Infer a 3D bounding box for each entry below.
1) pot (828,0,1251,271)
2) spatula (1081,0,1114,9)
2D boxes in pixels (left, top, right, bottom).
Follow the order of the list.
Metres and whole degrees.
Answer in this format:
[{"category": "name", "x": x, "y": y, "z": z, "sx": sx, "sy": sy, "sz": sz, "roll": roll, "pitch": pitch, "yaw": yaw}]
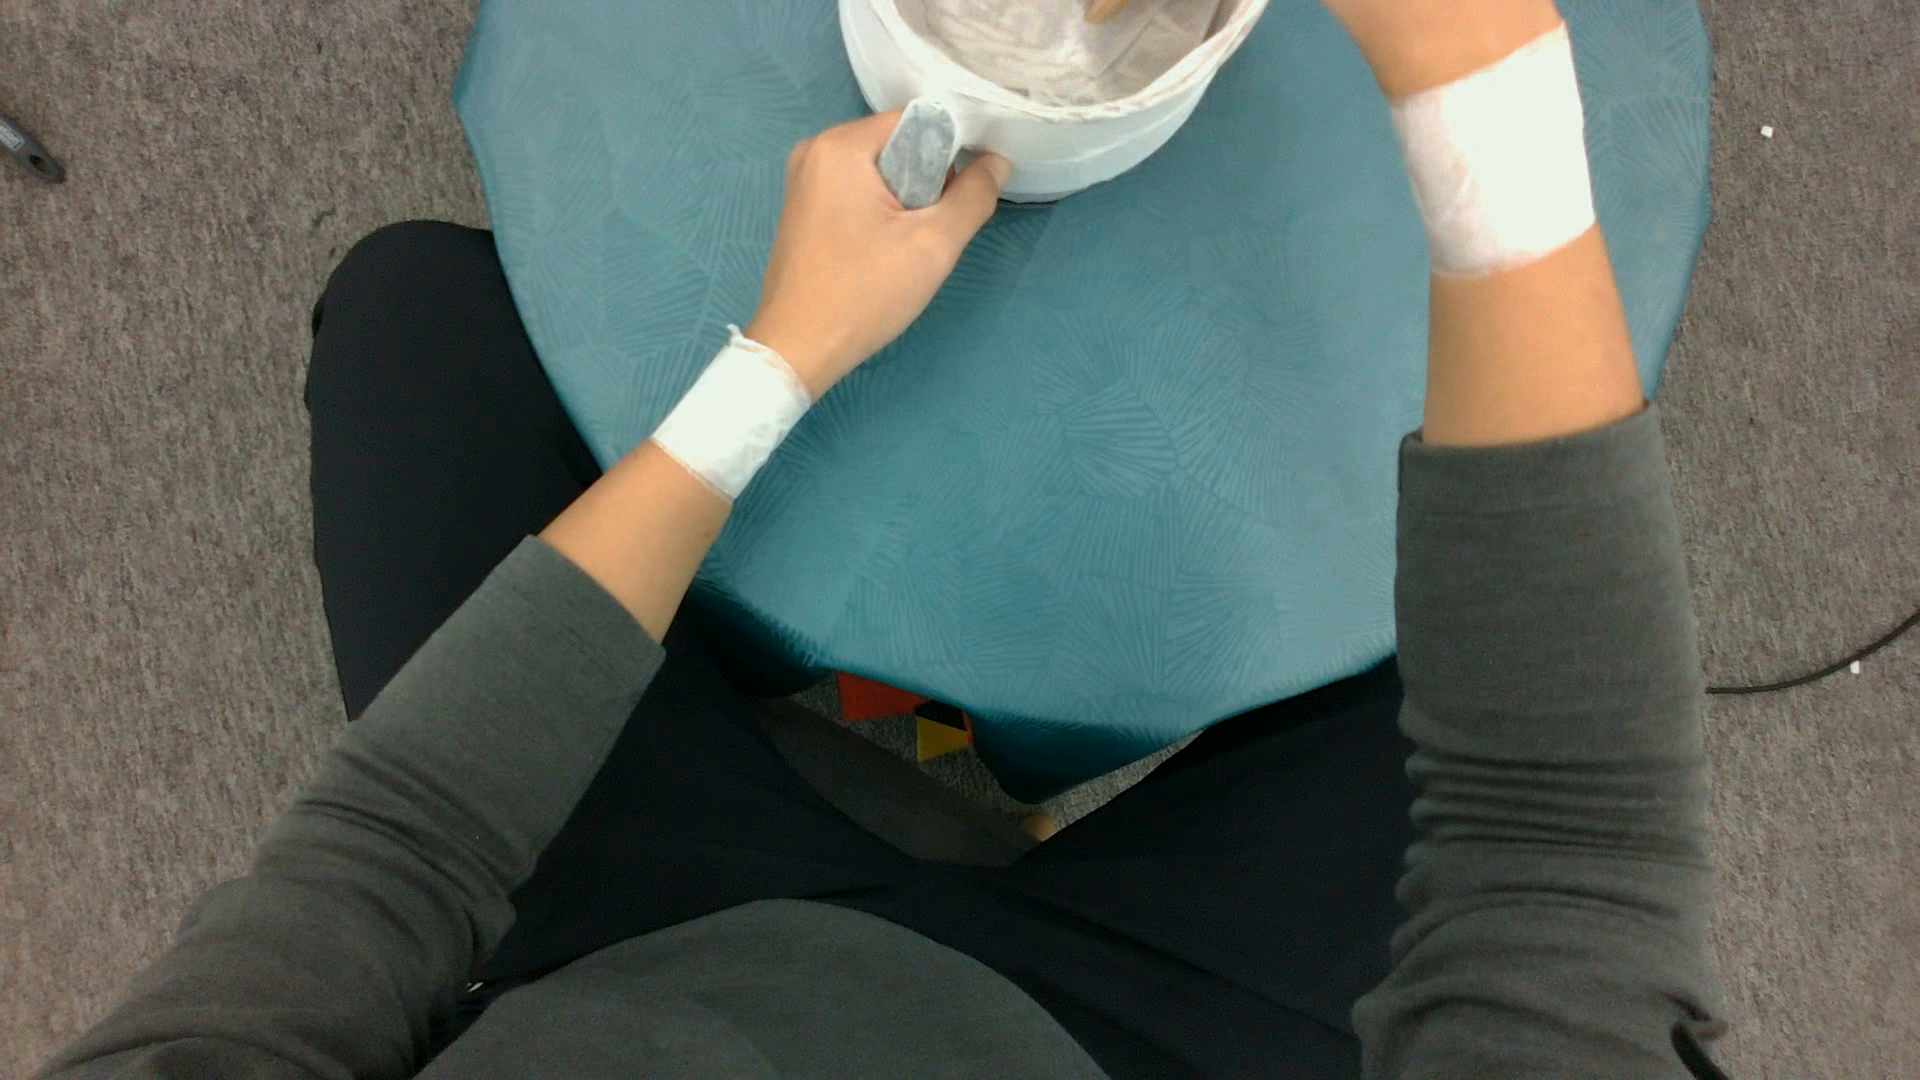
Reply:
[{"category": "pot", "x": 0.017, "y": -0.227, "z": 0.594, "sx": 0.179, "sy": 0.136, "sz": 0.234, "roll": 29, "pitch": 86, "yaw": -3}, {"category": "spatula", "x": 0.083, "y": -0.248, "z": 0.416, "sx": 0.018, "sy": 0.391, "sz": 0.095, "roll": 16, "pitch": 96, "yaw": -5}]
